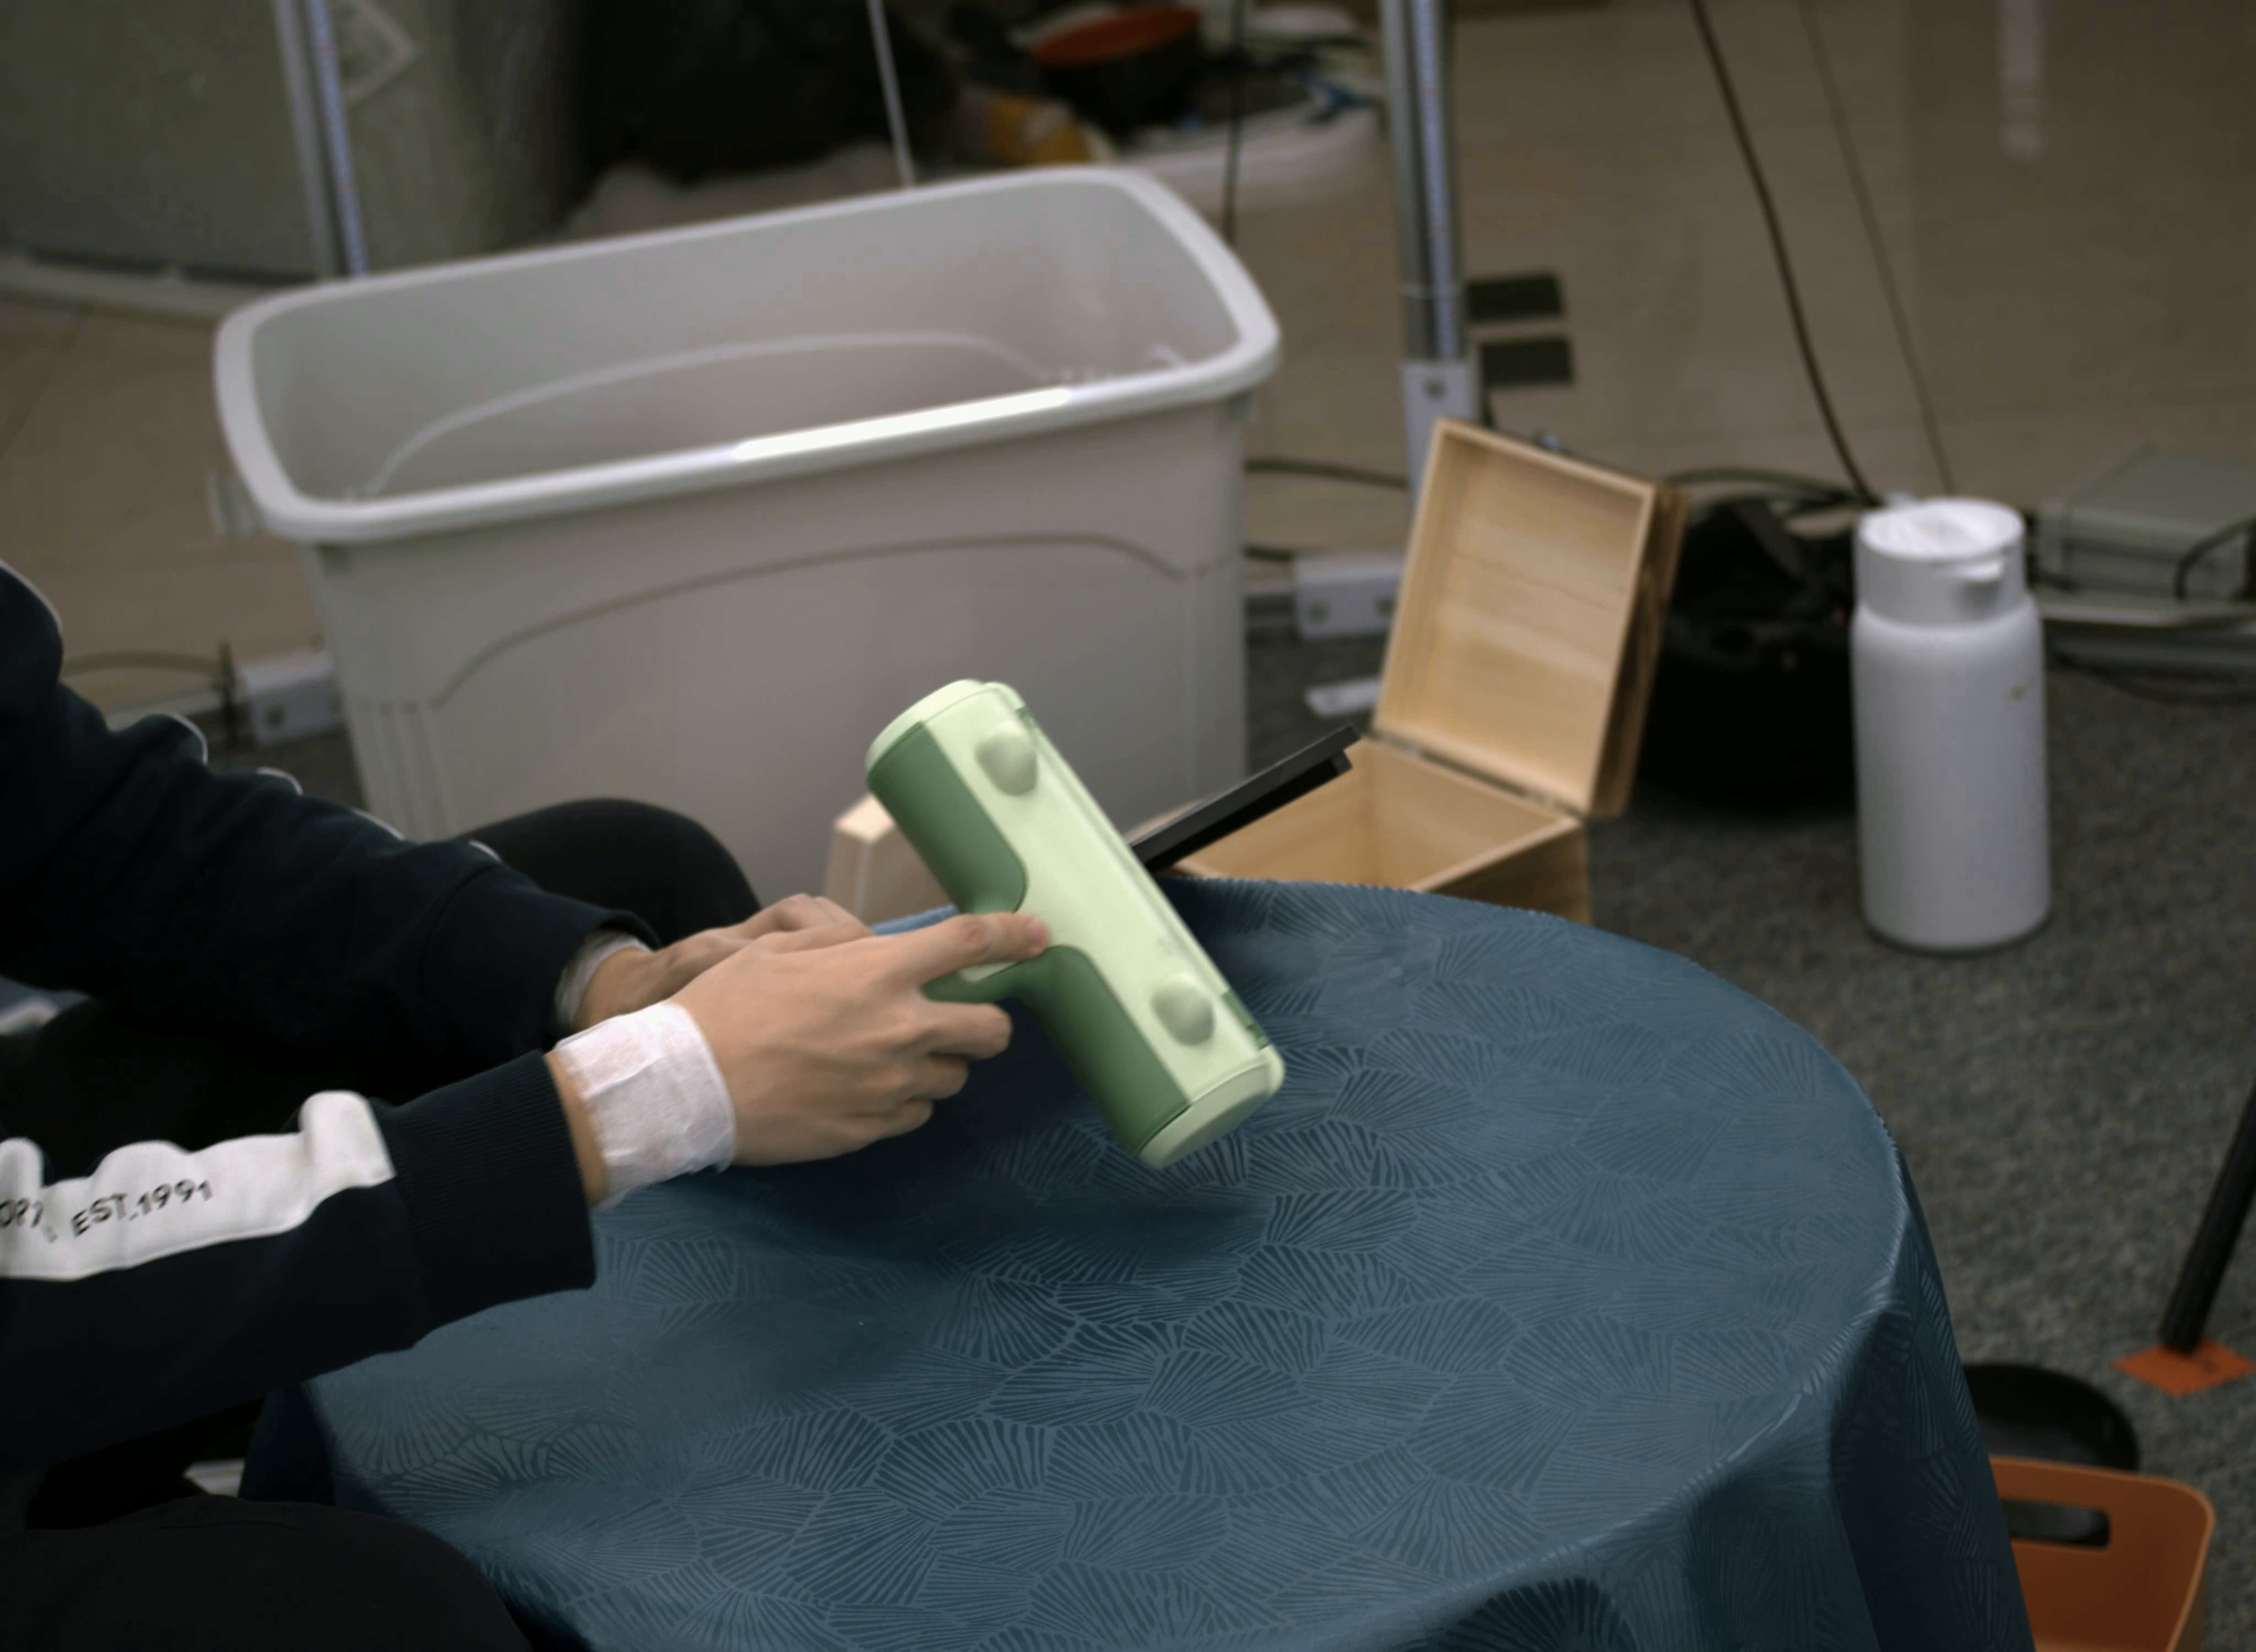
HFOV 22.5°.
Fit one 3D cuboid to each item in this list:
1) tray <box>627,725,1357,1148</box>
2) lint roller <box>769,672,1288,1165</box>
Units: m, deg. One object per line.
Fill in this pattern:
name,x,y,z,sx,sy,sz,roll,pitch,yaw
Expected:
tray,-0.050,0.045,2.246,0.303,0.018,0.171,-30,1,-40
lint roller,-0.051,0.044,2.077,0.182,0.083,0.197,-24,75,-45
